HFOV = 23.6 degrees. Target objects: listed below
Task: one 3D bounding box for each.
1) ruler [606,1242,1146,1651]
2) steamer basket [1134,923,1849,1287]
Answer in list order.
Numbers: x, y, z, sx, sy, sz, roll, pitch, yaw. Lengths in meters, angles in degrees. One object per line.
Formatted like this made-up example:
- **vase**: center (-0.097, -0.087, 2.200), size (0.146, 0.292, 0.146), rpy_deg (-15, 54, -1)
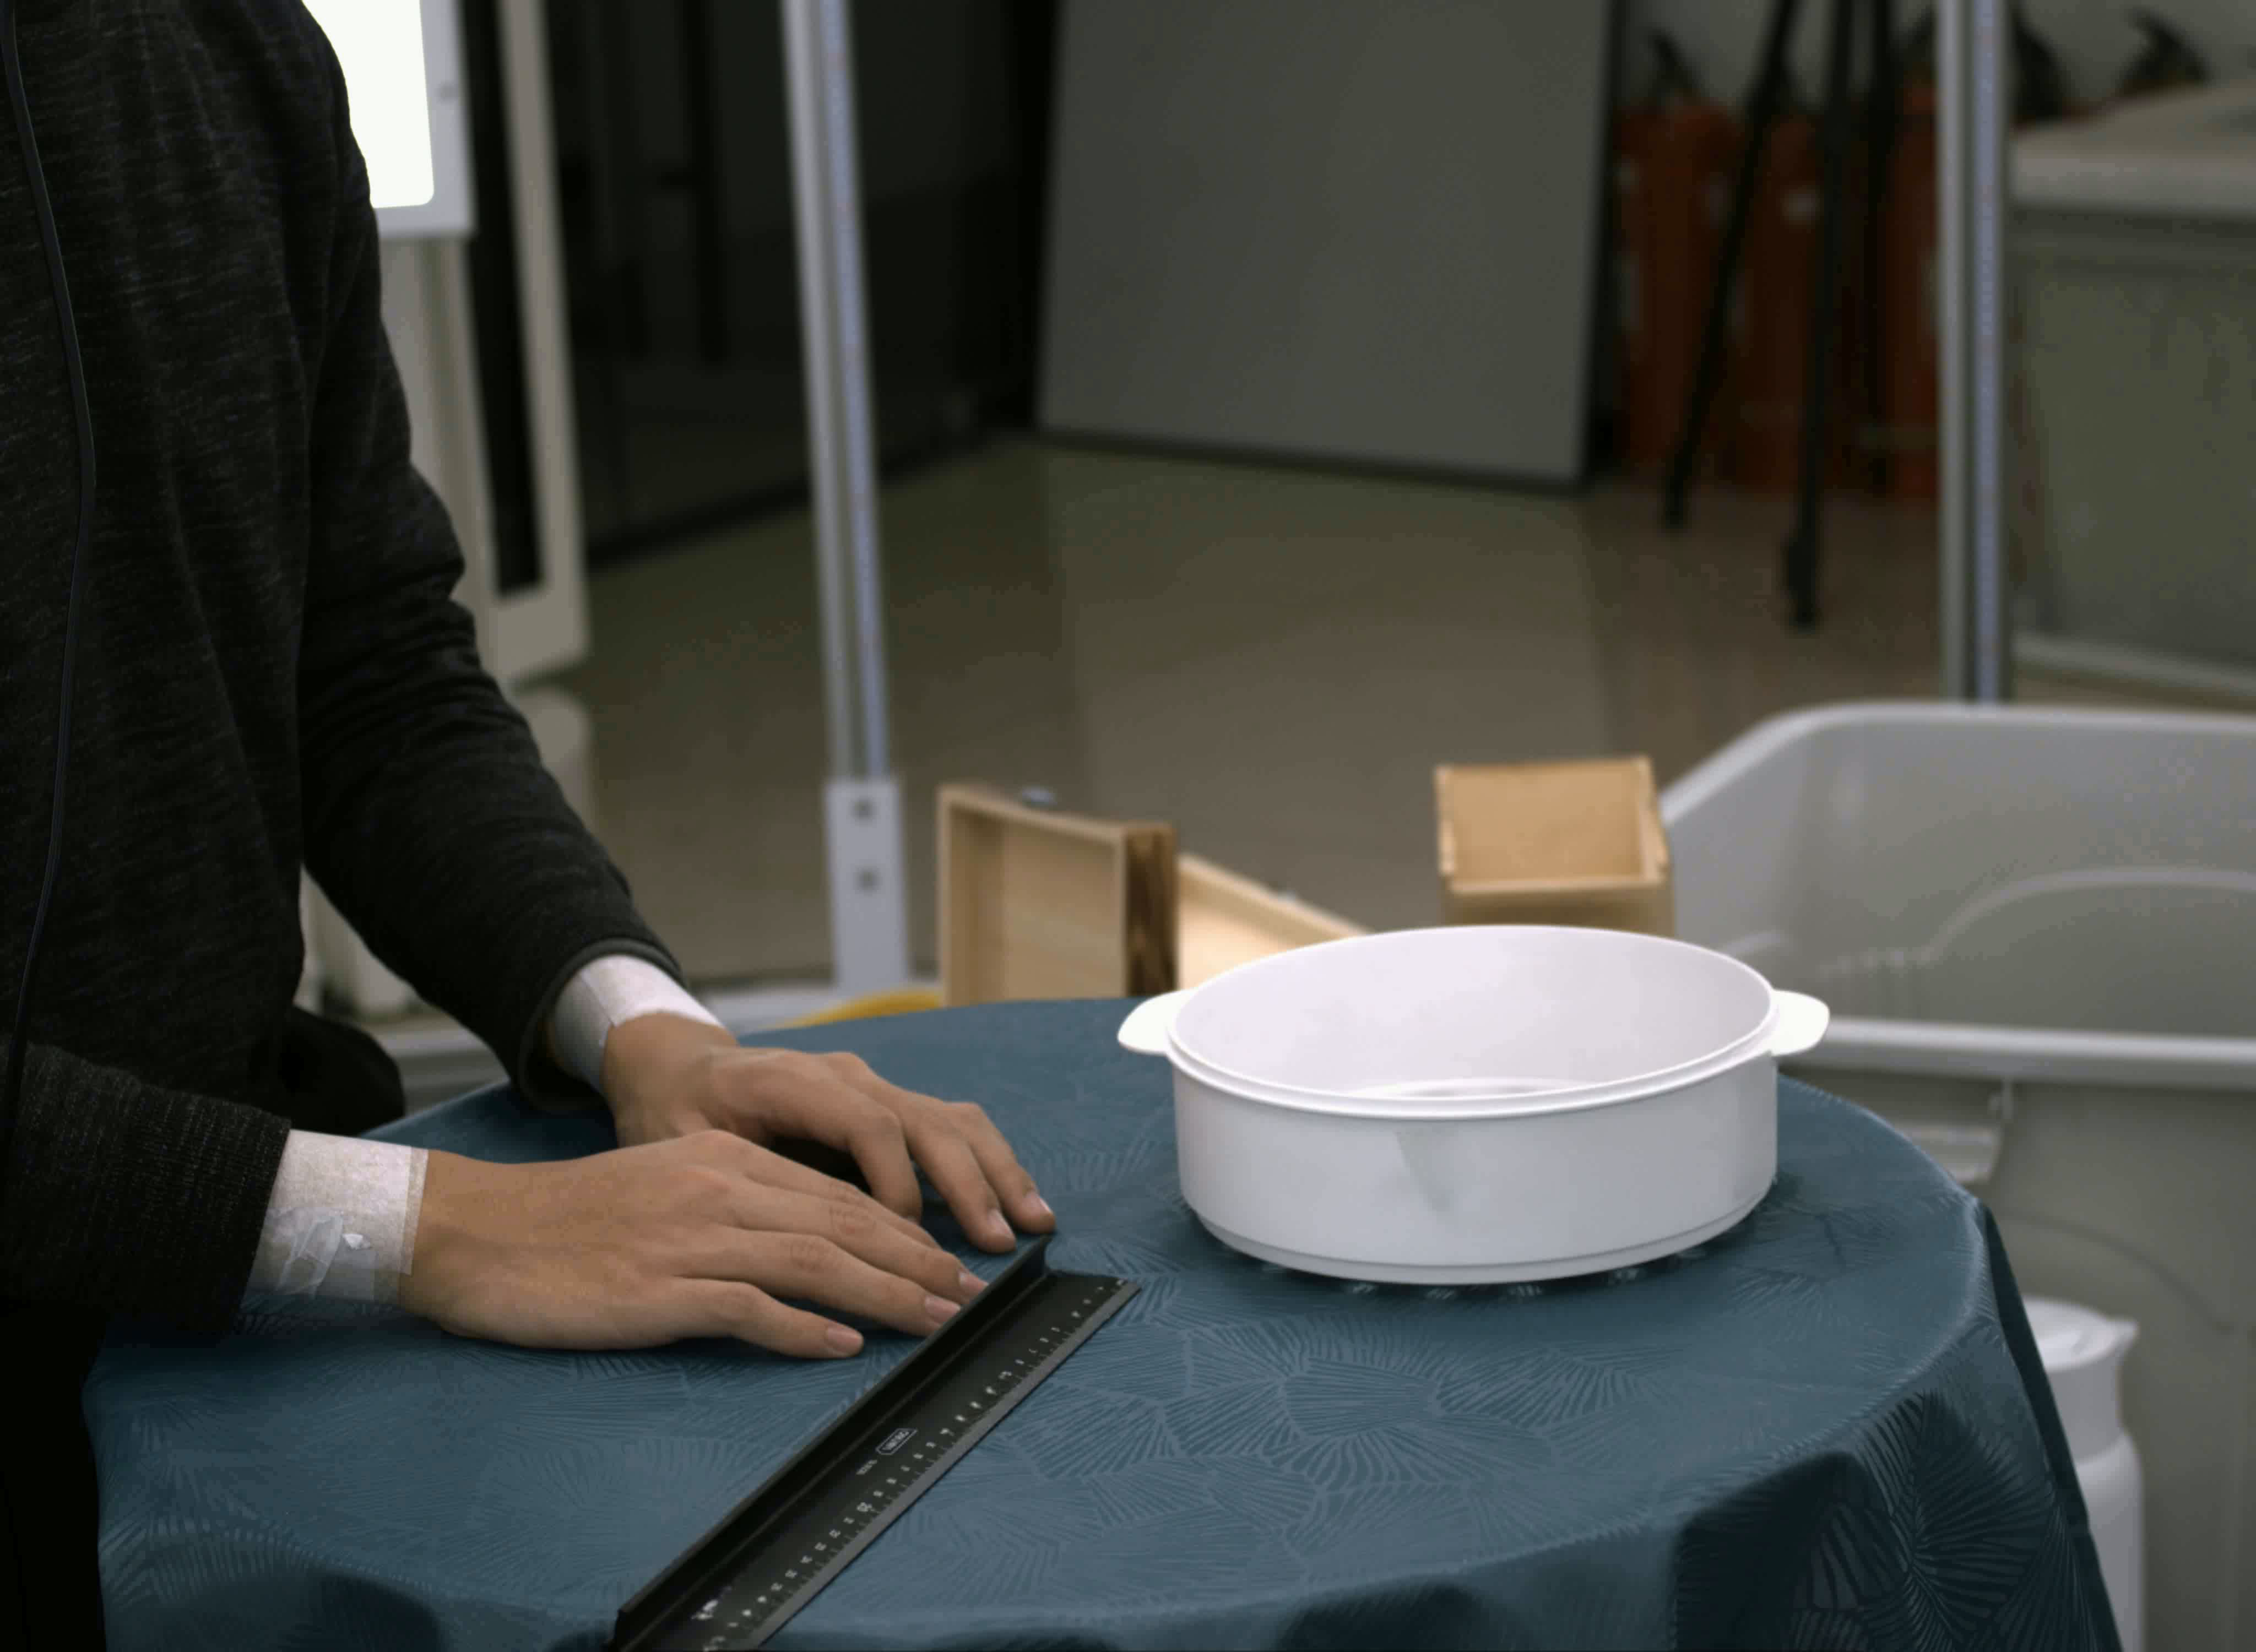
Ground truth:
- **ruler**: center (-0.065, 0.174, 1.540), size (0.039, 0.017, 0.309), rpy_deg (5, 16, 20)
- **steamer basket**: center (0.116, 0.088, 1.723), size (0.229, 0.070, 0.200), rpy_deg (1, 14, 13)
